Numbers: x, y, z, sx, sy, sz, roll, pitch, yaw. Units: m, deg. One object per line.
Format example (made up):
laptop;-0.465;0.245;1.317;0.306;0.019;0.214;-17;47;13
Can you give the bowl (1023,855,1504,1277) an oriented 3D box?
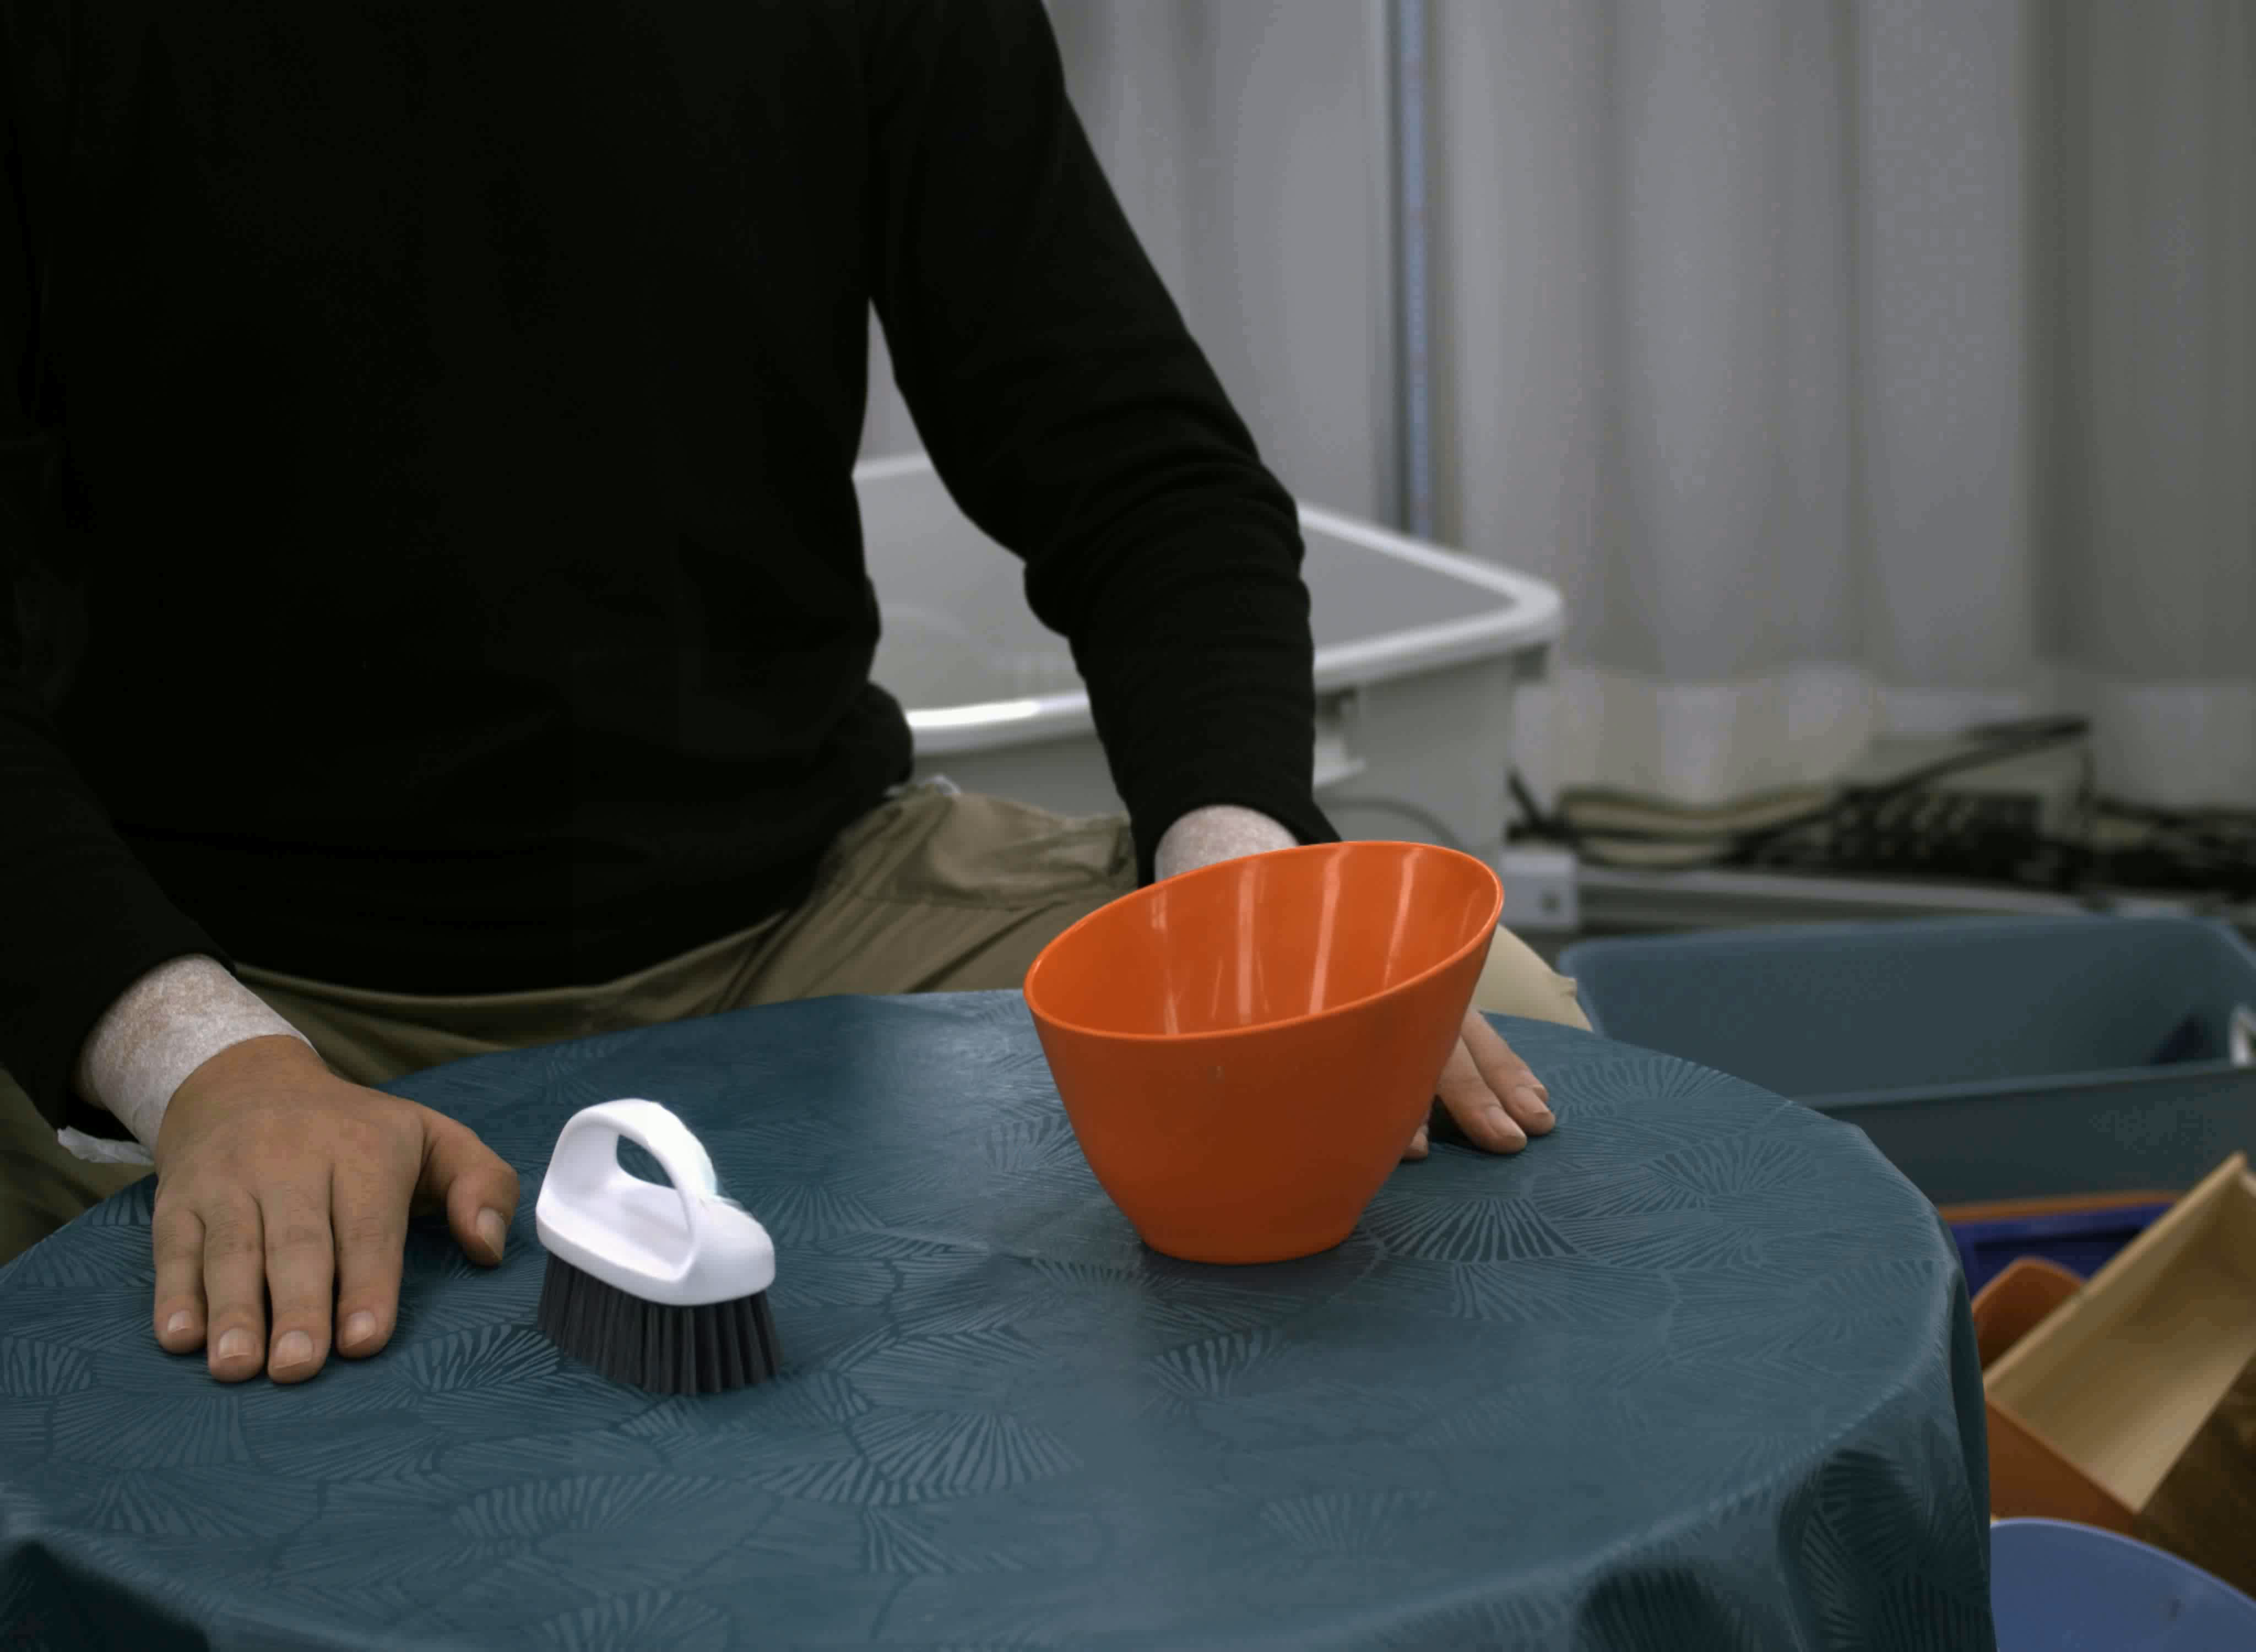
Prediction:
bowl;0.044;0.076;1.664;0.147;0.104;0.149;-4;14;1

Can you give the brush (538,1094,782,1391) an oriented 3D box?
brush;-0.139;0.116;1.593;0.050;0.072;0.100;-11;16;-28
